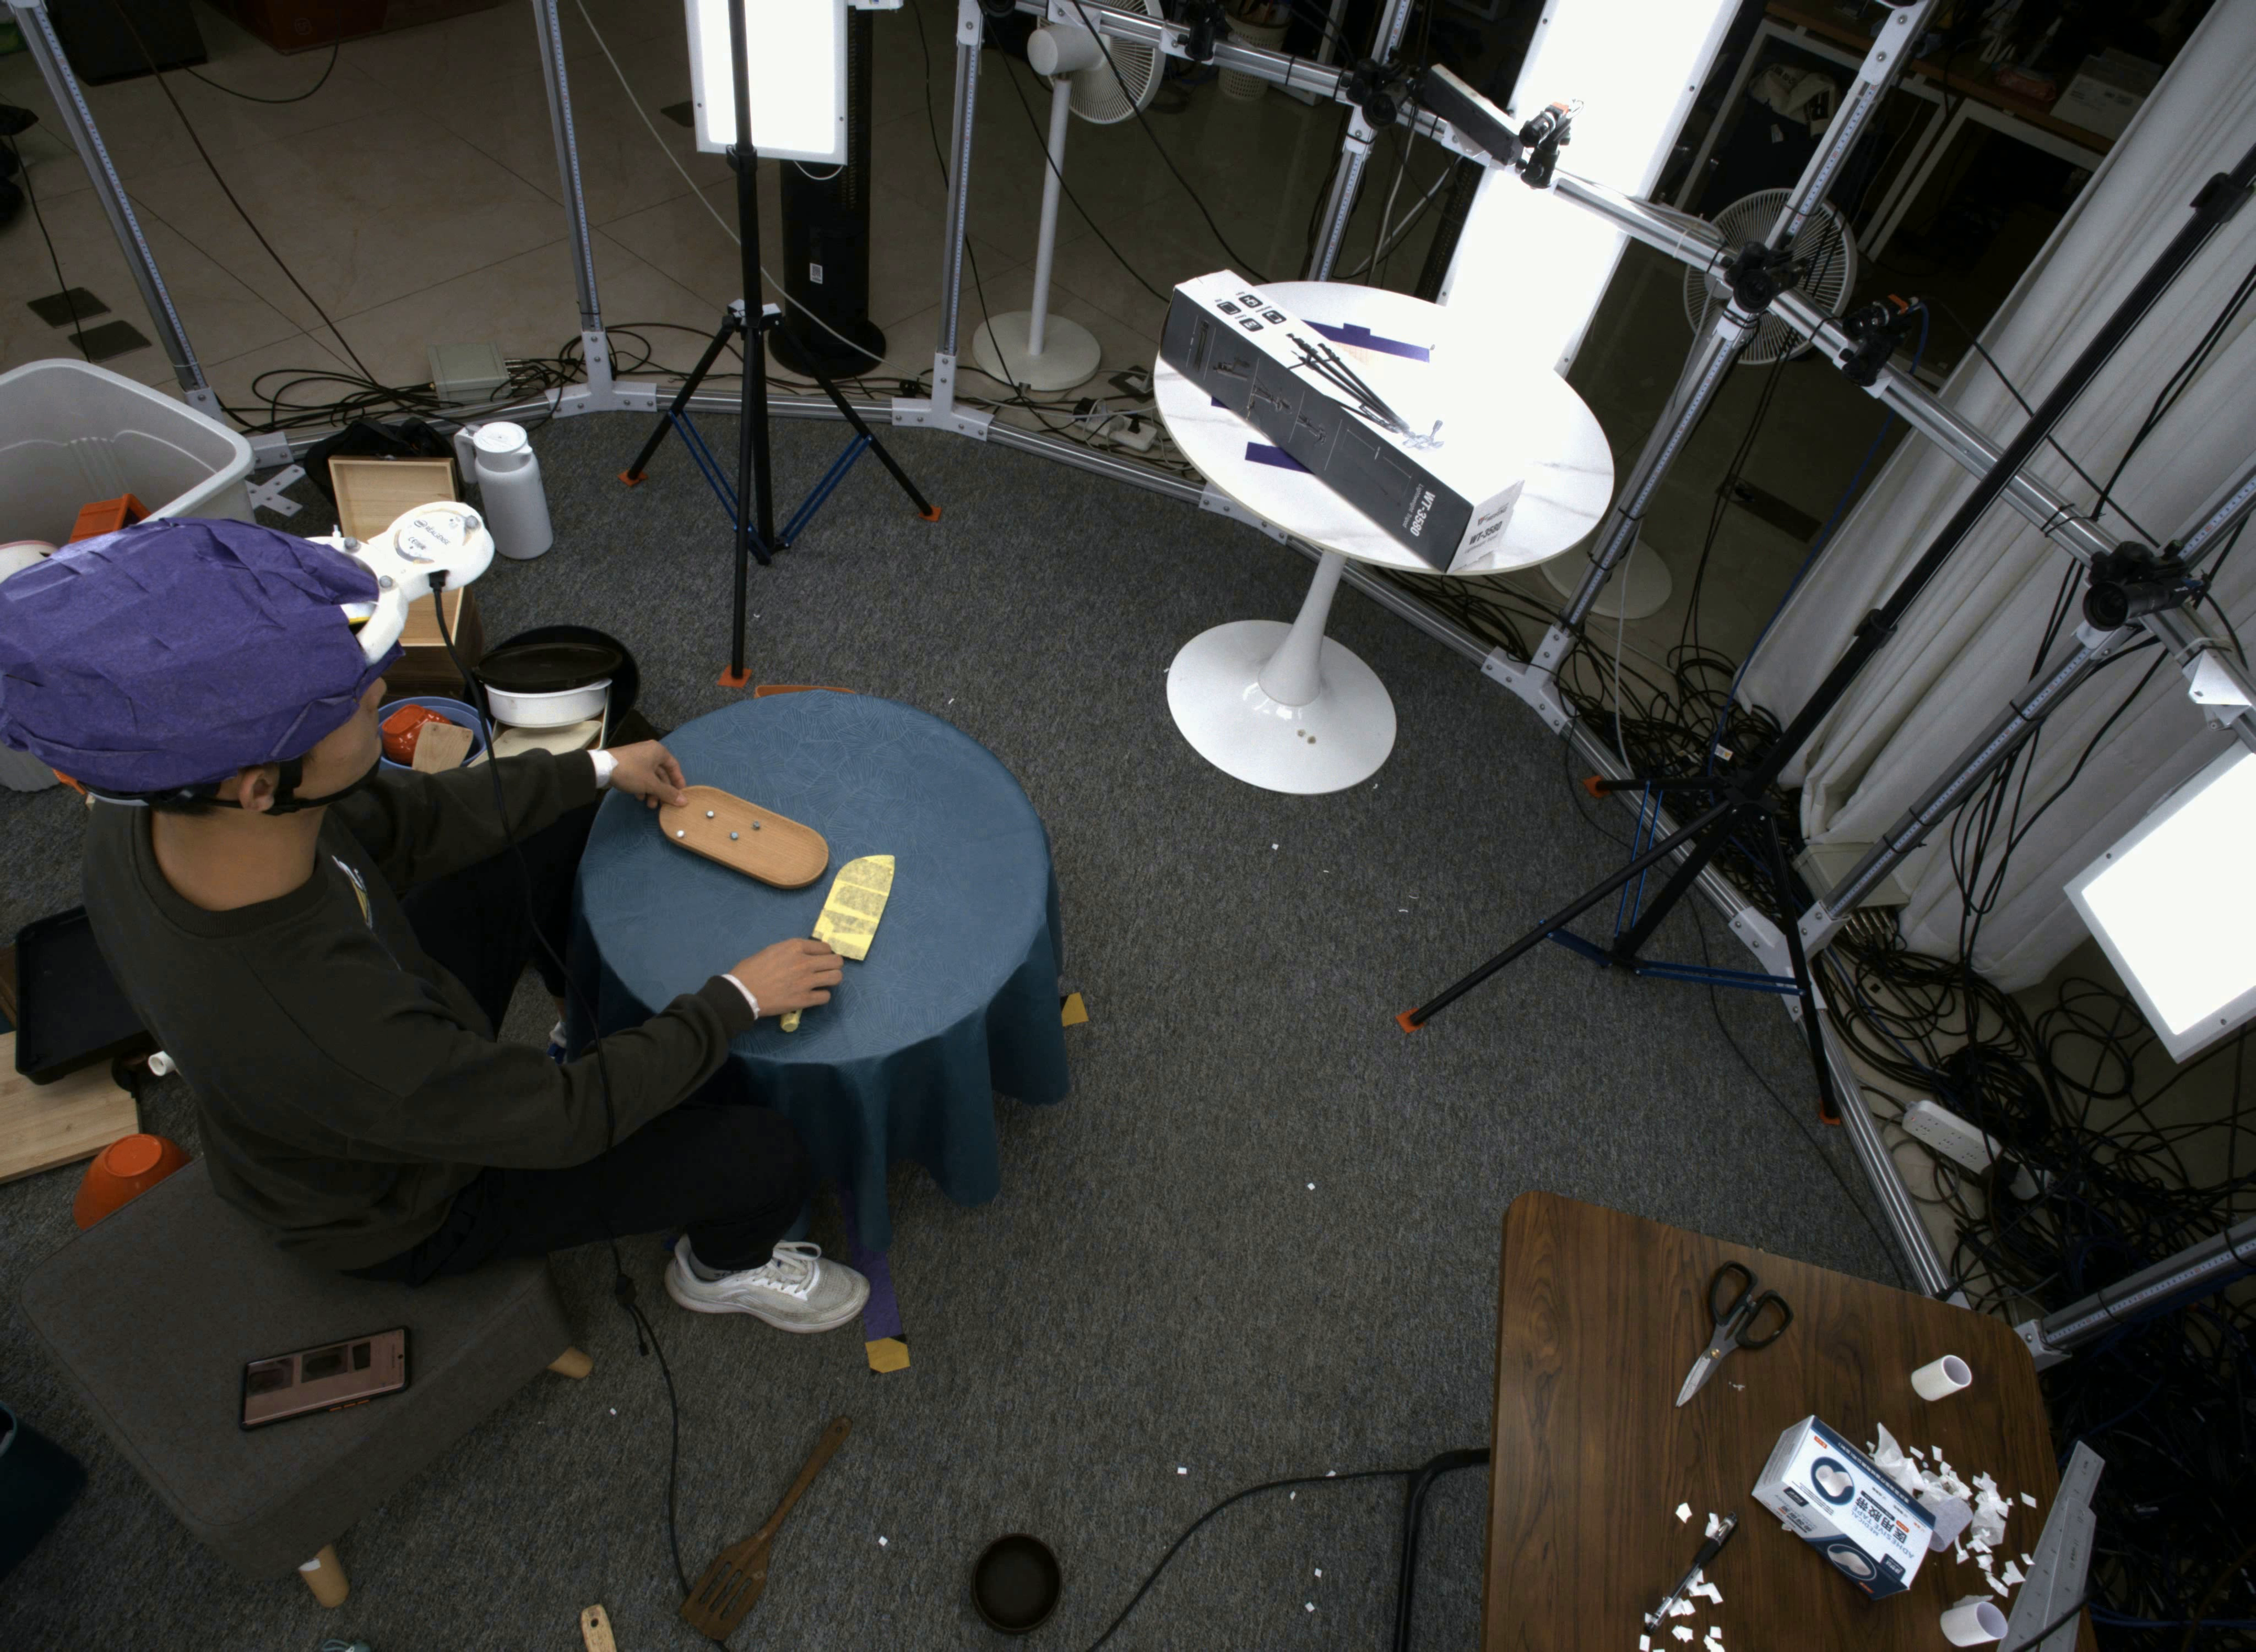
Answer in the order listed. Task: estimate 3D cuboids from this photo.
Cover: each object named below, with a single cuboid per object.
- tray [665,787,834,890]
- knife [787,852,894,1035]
[{"bbox_3d":[-0.496,0.015,1.692,0.229,0.020,0.101,23,52,-1],"label":"tray"},{"bbox_3d":[-0.360,0.140,1.639,0.080,0.028,0.286,18,51,-1],"label":"knife"}]
